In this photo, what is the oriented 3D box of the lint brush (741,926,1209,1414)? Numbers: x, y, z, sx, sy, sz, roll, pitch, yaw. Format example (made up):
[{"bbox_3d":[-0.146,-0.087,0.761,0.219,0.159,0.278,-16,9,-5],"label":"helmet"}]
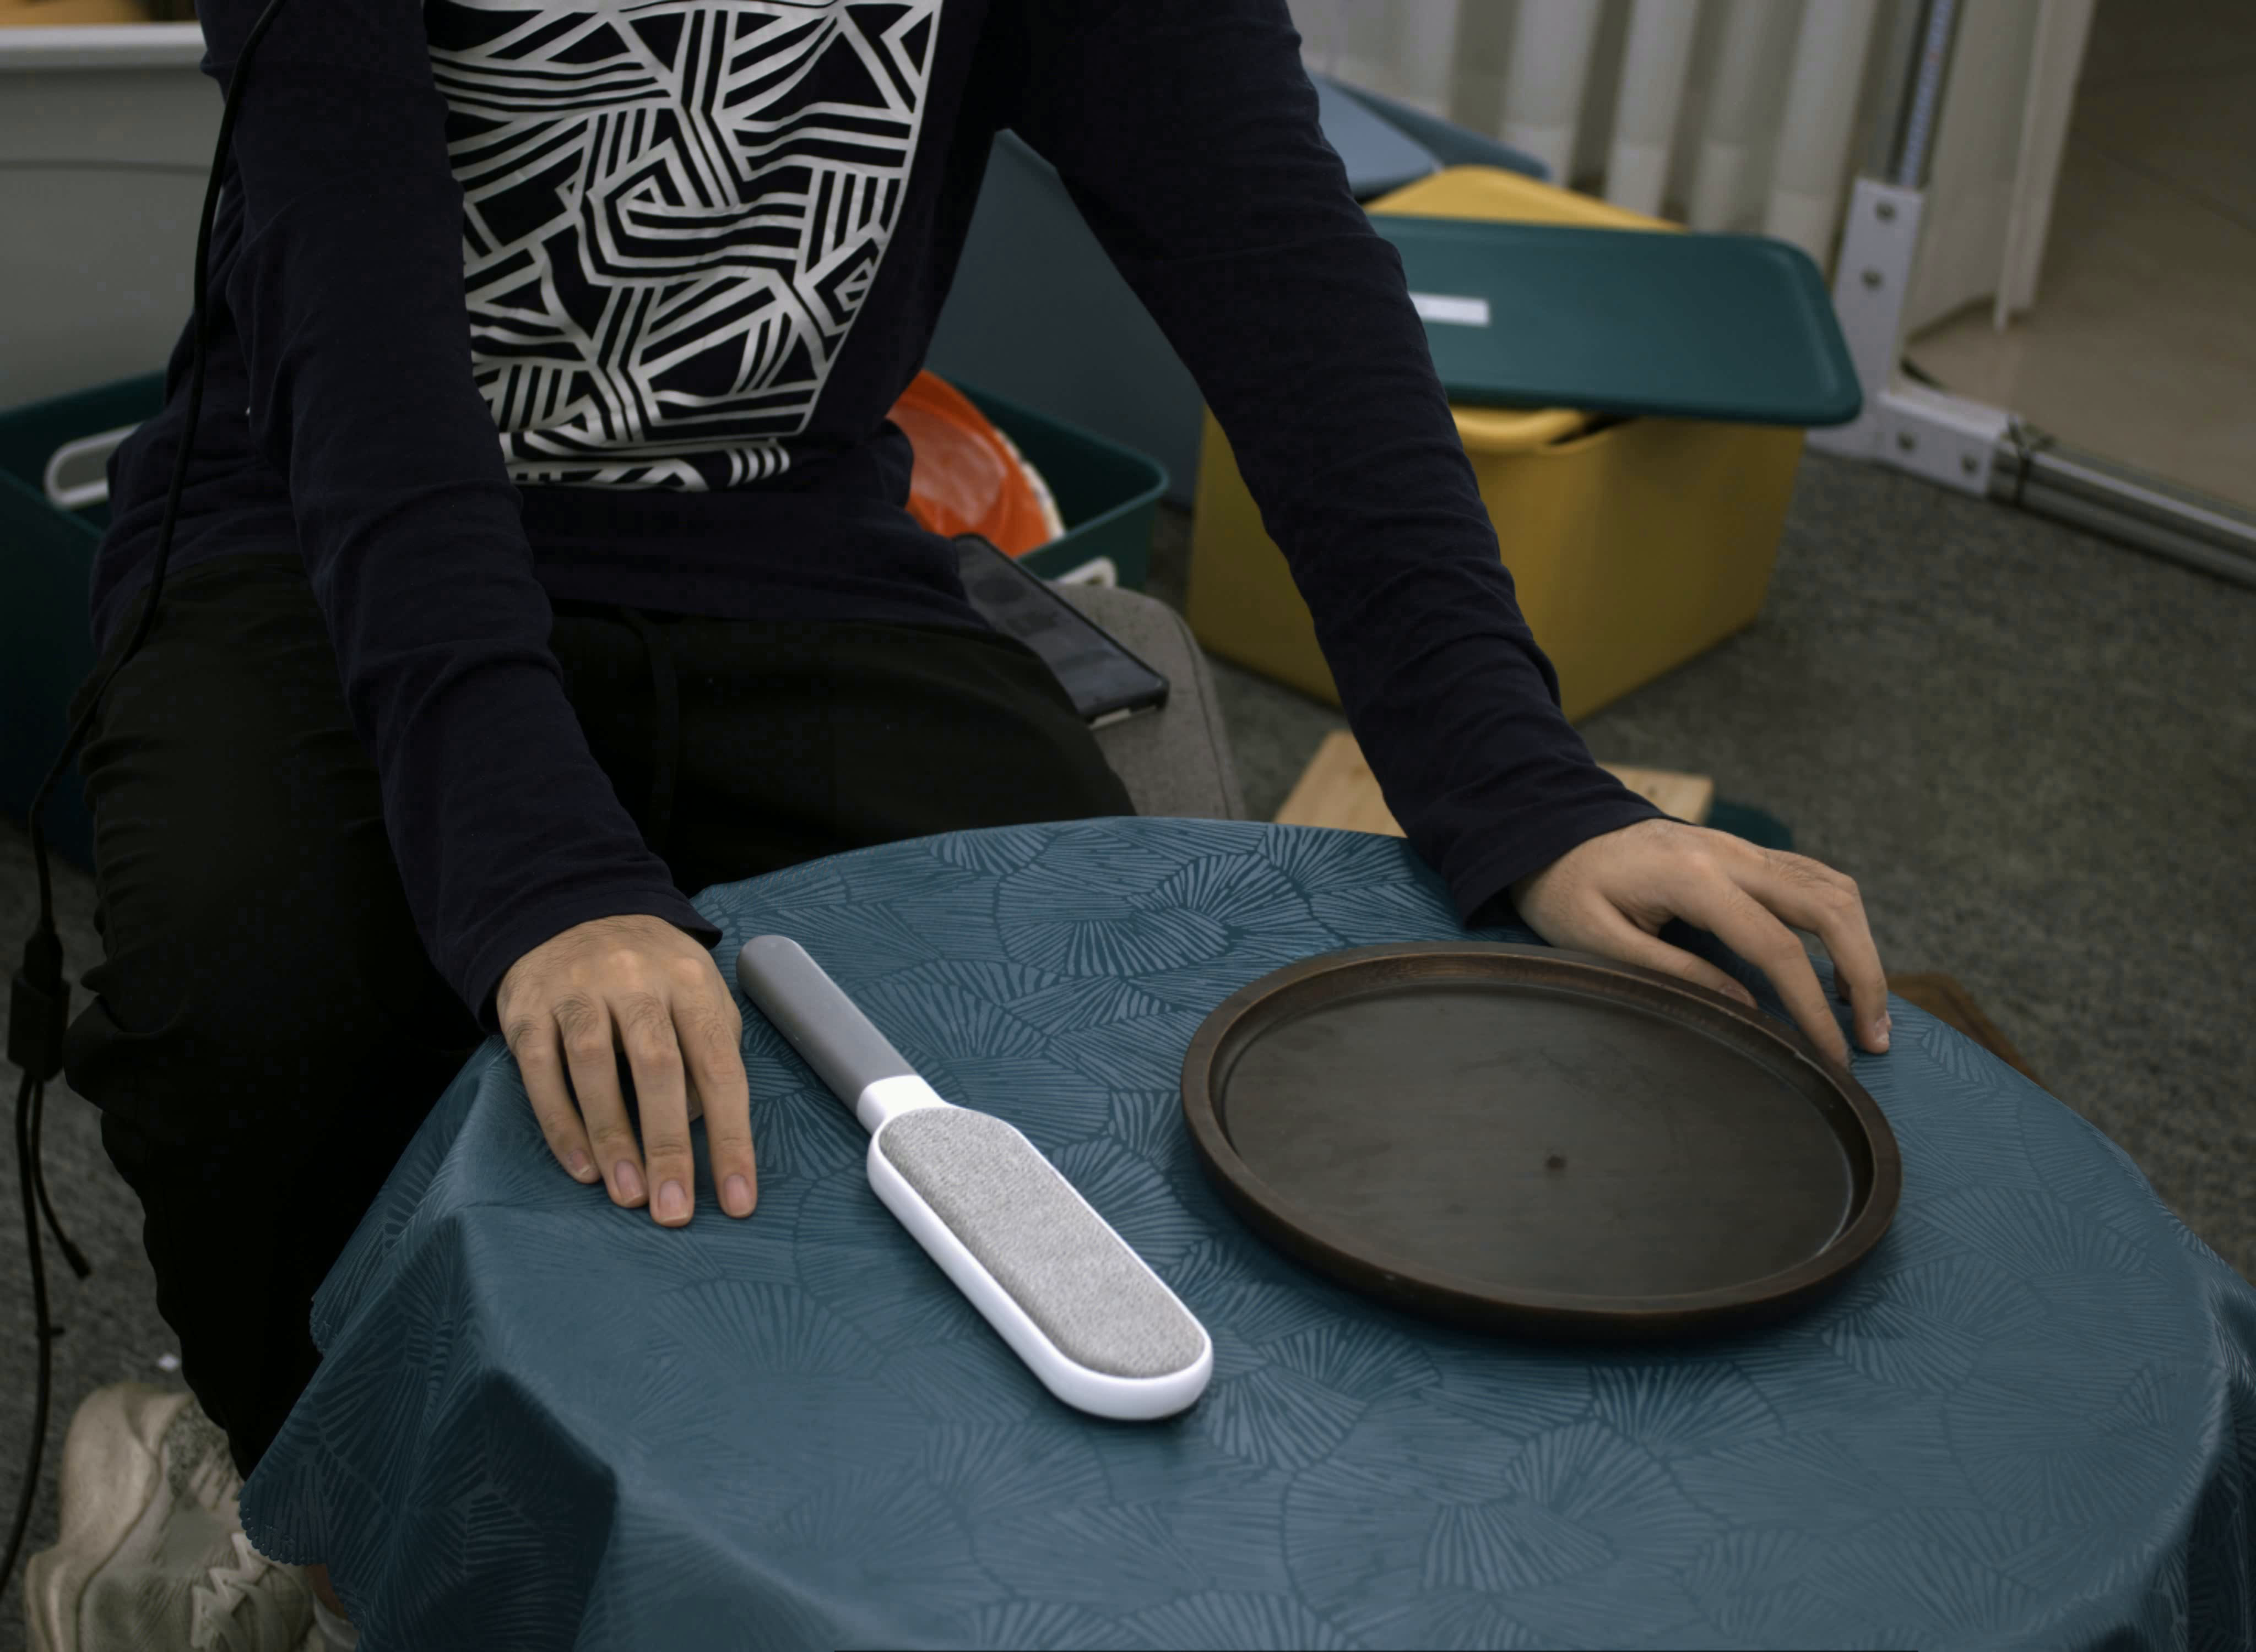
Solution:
[{"bbox_3d":[-0.059,0.110,1.789,0.060,0.021,0.312,-13,32,-24],"label":"lint brush"}]

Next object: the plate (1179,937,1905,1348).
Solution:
[{"bbox_3d":[0.142,0.107,1.842,0.254,0.029,0.256,7,26,-4],"label":"plate"}]
